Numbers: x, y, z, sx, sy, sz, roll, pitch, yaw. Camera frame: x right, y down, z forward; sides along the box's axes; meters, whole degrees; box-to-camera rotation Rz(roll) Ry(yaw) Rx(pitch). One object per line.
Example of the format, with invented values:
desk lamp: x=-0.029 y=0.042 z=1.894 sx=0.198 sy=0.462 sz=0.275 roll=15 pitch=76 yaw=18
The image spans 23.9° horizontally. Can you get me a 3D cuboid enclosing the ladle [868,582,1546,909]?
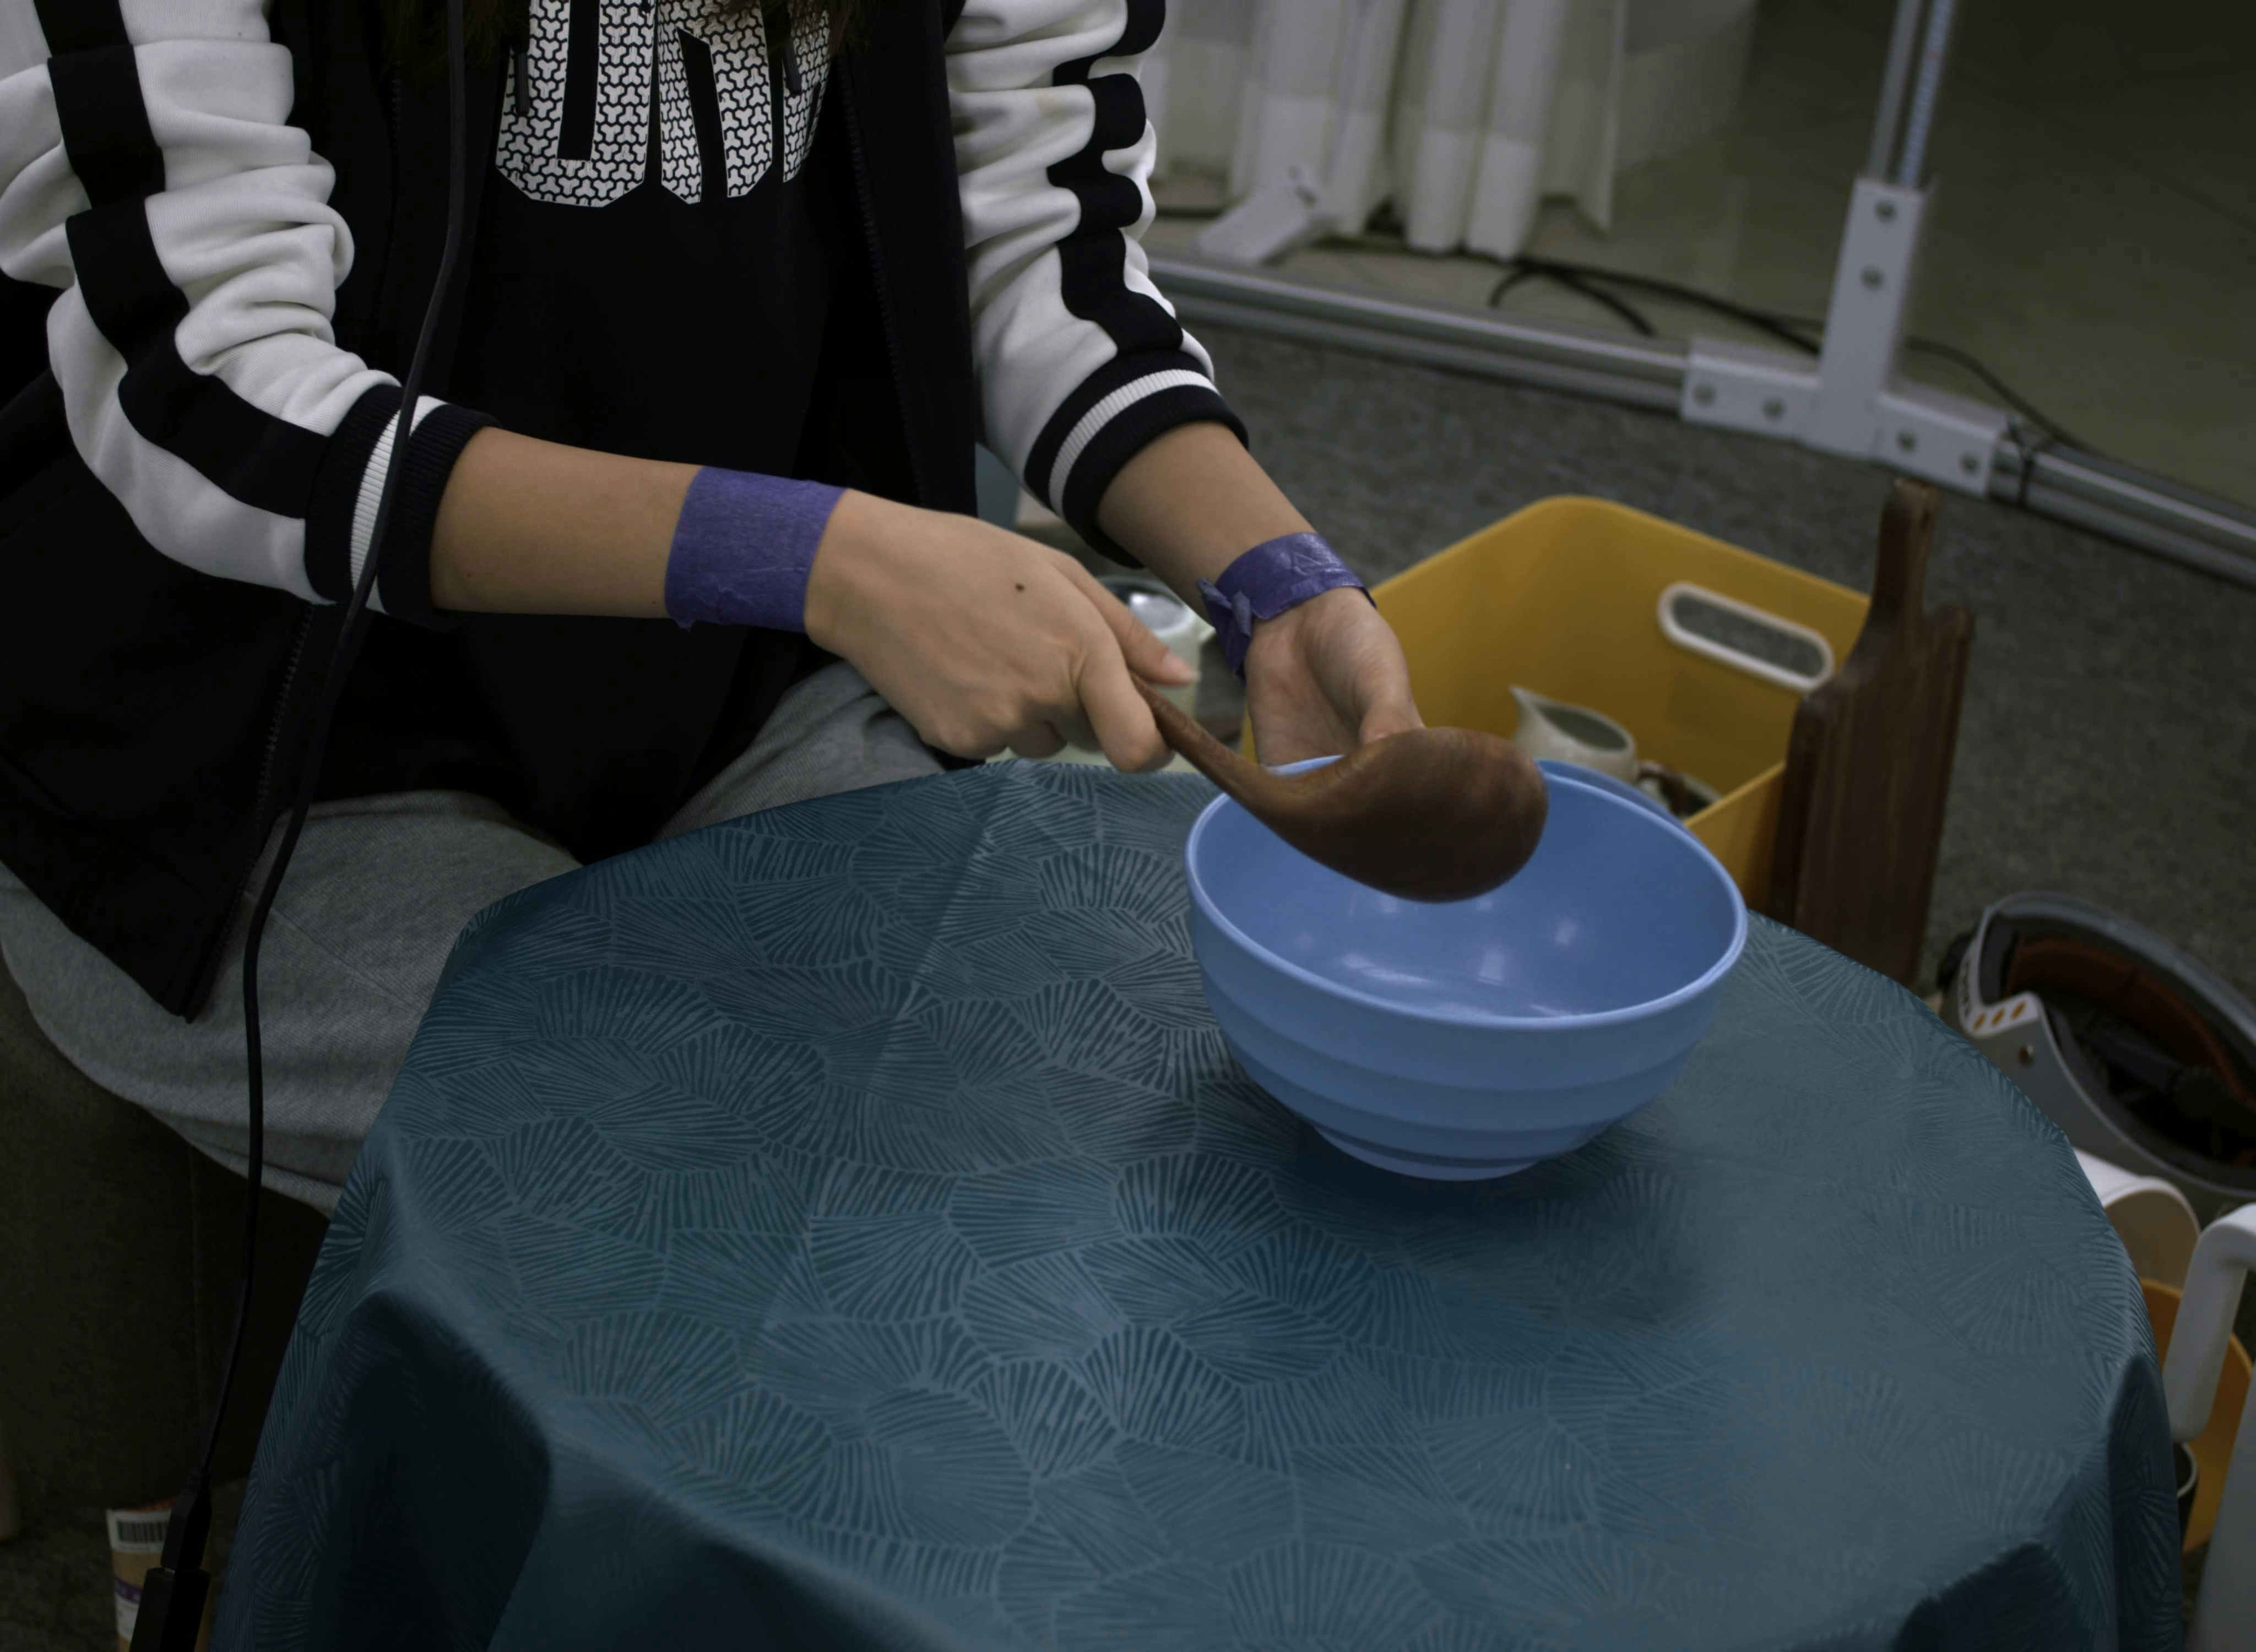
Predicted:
ladle: x=0.026 y=-0.041 z=1.816 sx=0.262 sy=0.076 sz=0.065 roll=27 pitch=52 yaw=31

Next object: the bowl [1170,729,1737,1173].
bowl: x=0.109 y=0.056 z=1.856 sx=0.196 sy=0.095 sz=0.198 roll=3 pitch=33 yaw=-2
